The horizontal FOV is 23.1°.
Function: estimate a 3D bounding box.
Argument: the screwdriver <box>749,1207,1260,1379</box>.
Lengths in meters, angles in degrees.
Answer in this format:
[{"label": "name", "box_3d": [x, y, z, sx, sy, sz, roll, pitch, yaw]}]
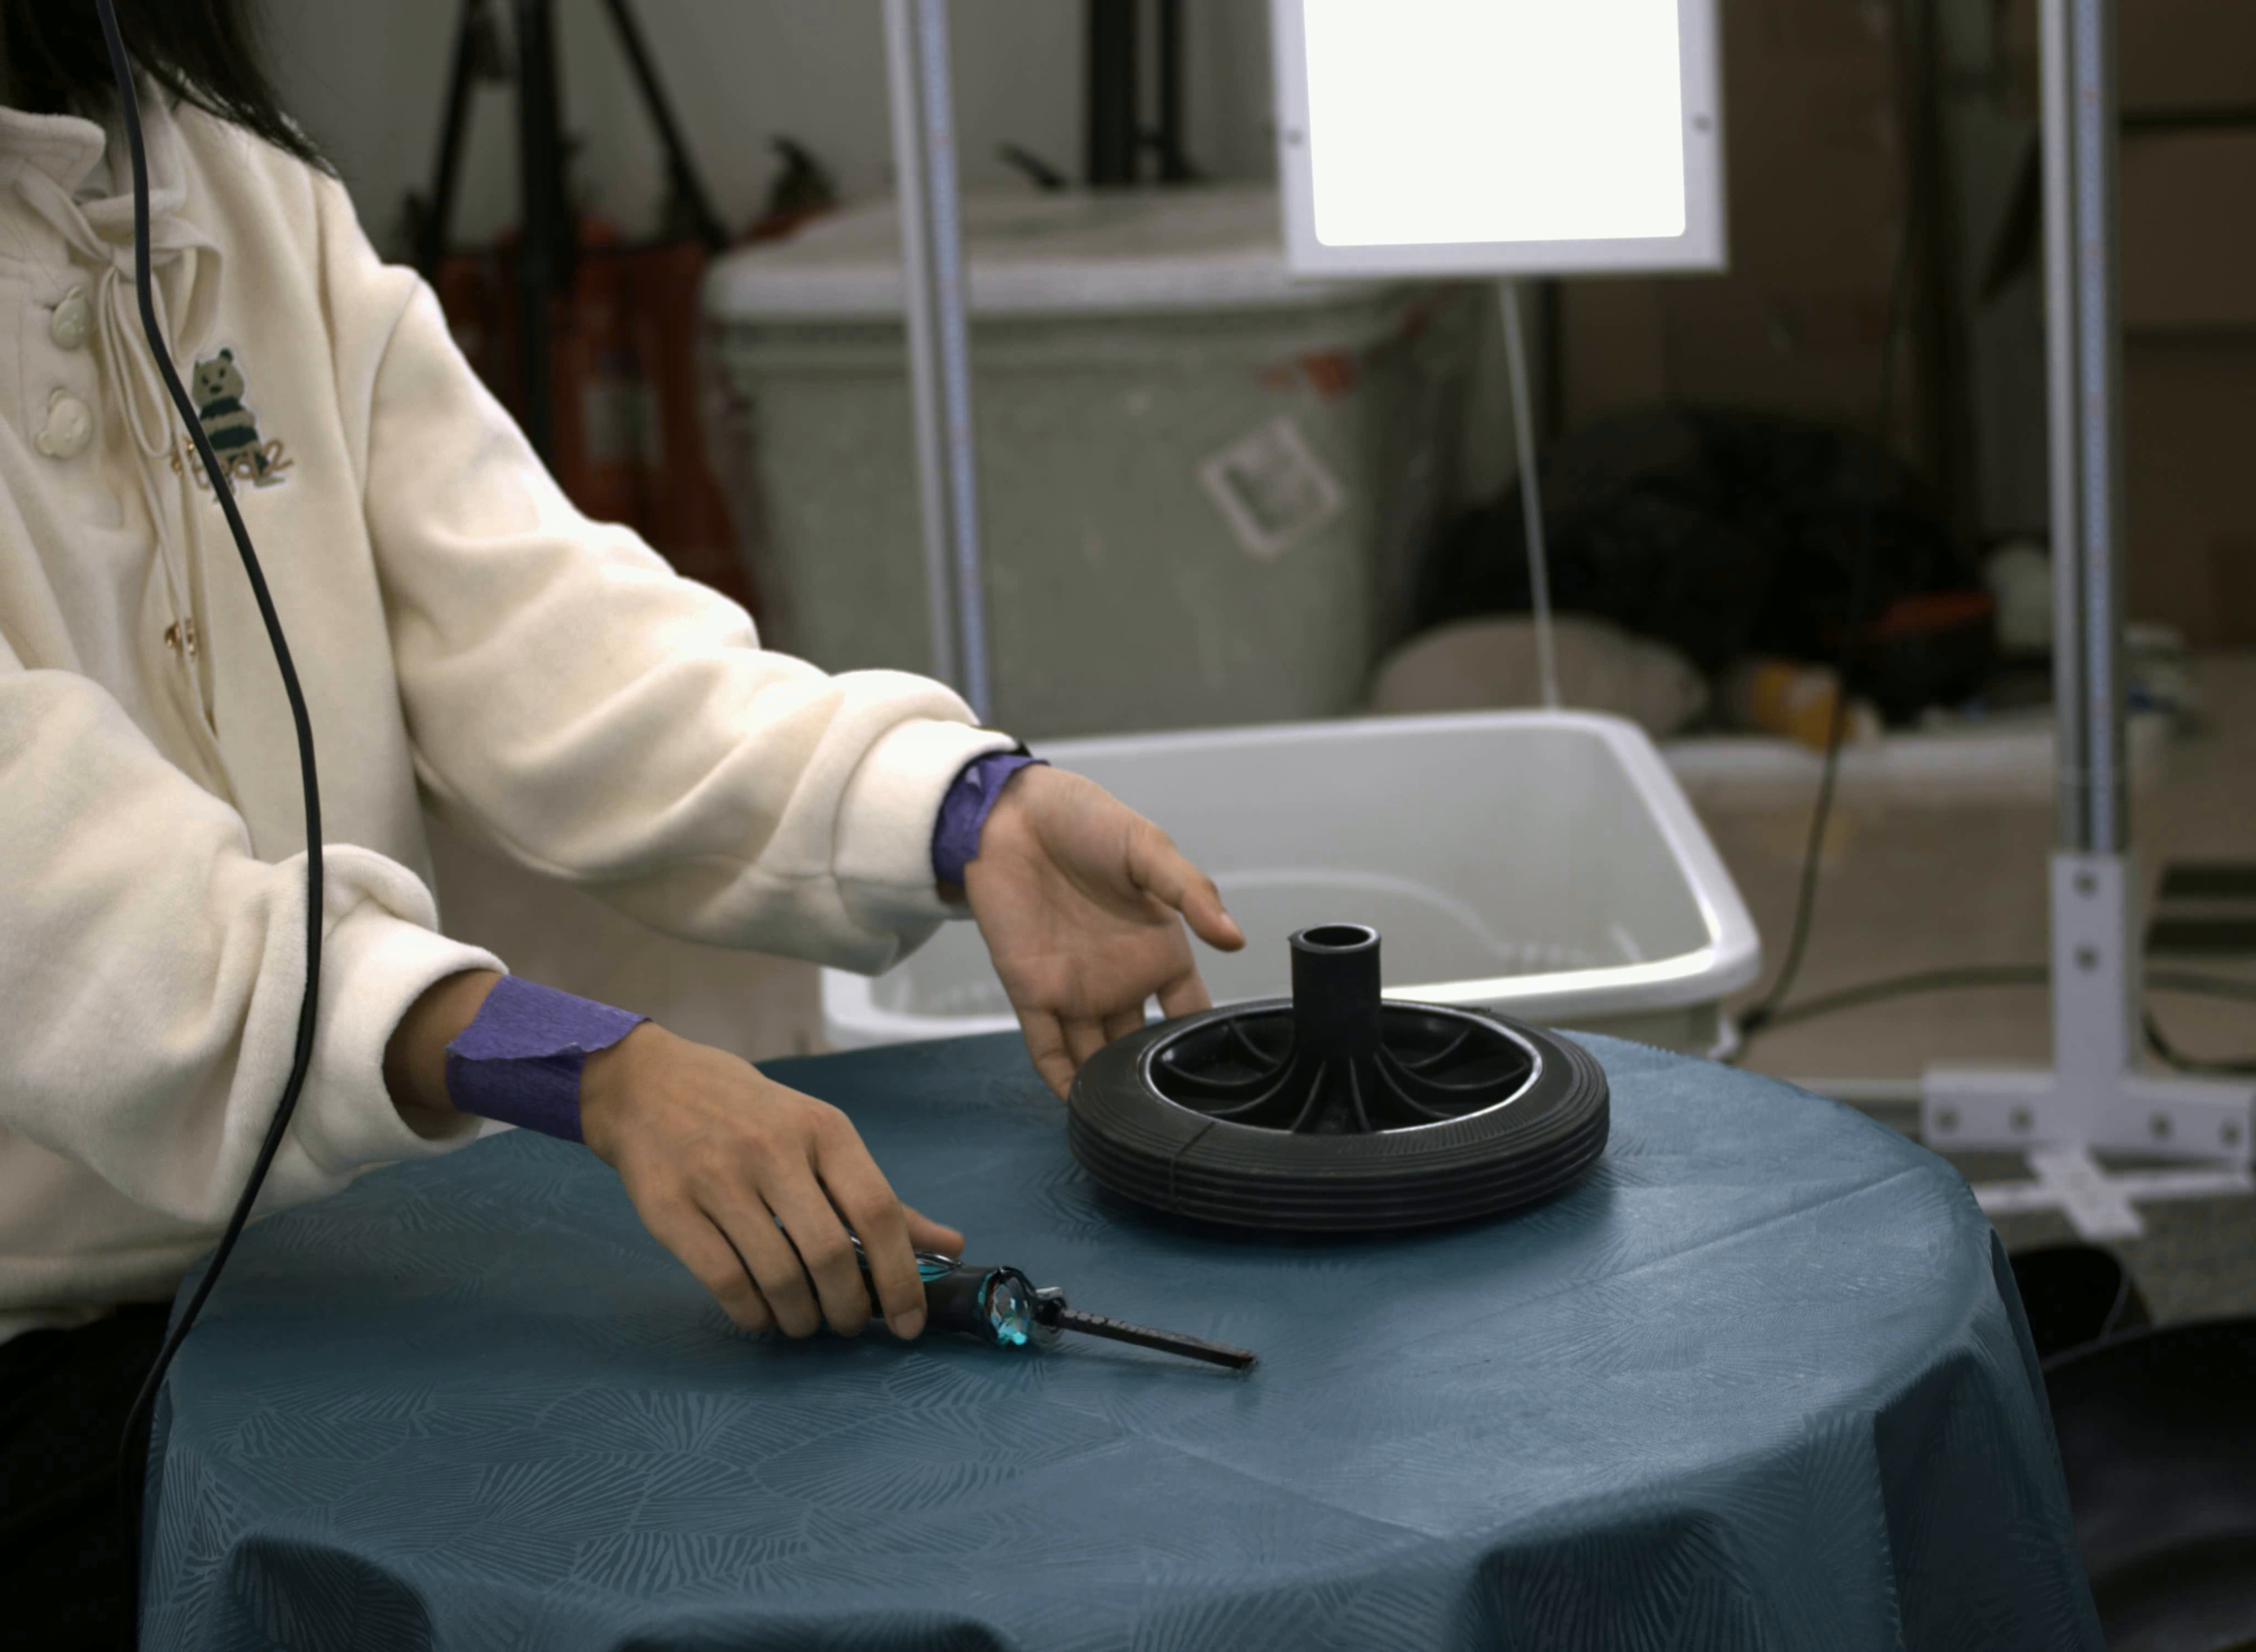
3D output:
[{"label": "screwdriver", "box_3d": [-0.039, 0.153, 1.753, 0.193, 0.034, 0.033, 12, 20, 32]}]

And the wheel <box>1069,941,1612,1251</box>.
[{"label": "wheel", "box_3d": [0.073, 0.082, 1.893, 0.185, 0.079, 0.191, -7, 19, -14]}]
